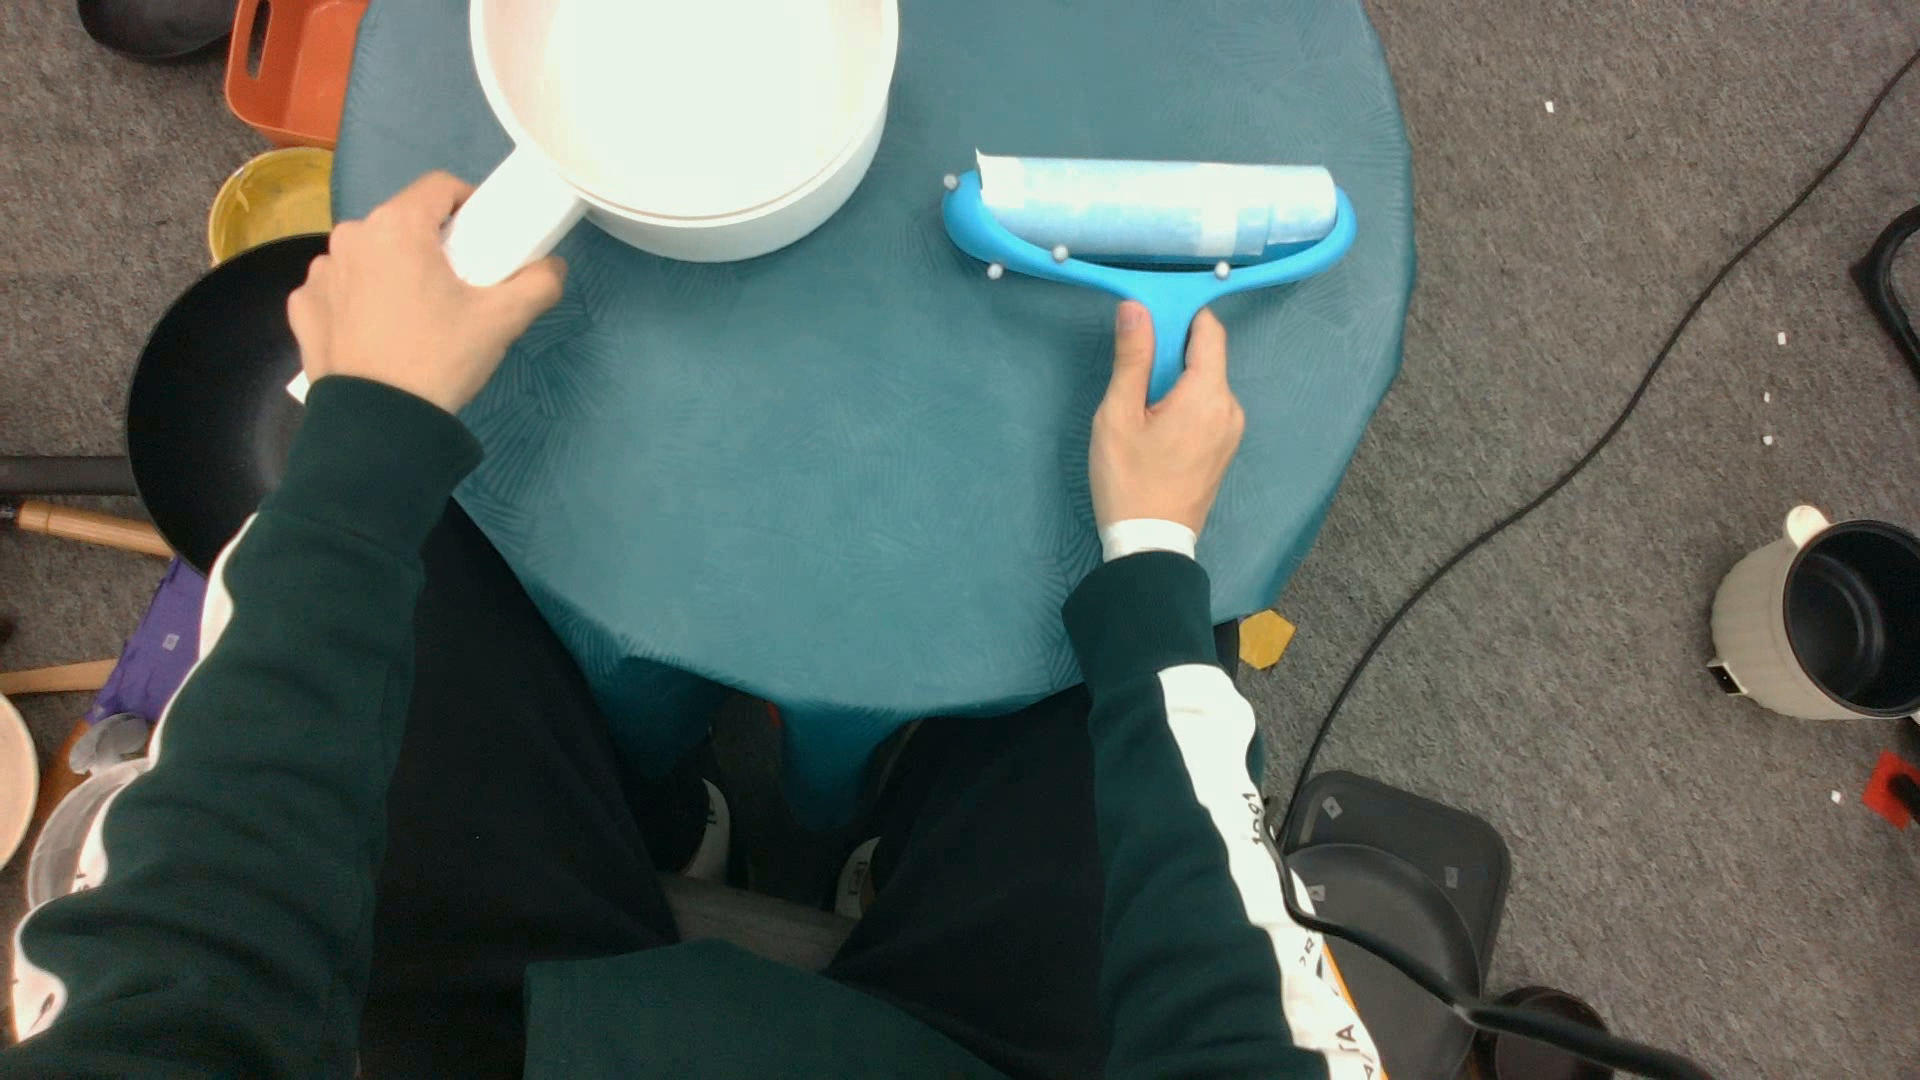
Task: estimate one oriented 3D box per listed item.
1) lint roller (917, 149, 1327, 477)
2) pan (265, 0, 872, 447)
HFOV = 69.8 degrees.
[{"bbox_3d":[0.096,-0.129,0.747,0.229,0.068,0.180,-4,80,-11],"label":"lint roller"},{"bbox_3d":[-0.195,-0.186,0.696,0.201,0.102,0.355,40,84,-1],"label":"pan"}]
